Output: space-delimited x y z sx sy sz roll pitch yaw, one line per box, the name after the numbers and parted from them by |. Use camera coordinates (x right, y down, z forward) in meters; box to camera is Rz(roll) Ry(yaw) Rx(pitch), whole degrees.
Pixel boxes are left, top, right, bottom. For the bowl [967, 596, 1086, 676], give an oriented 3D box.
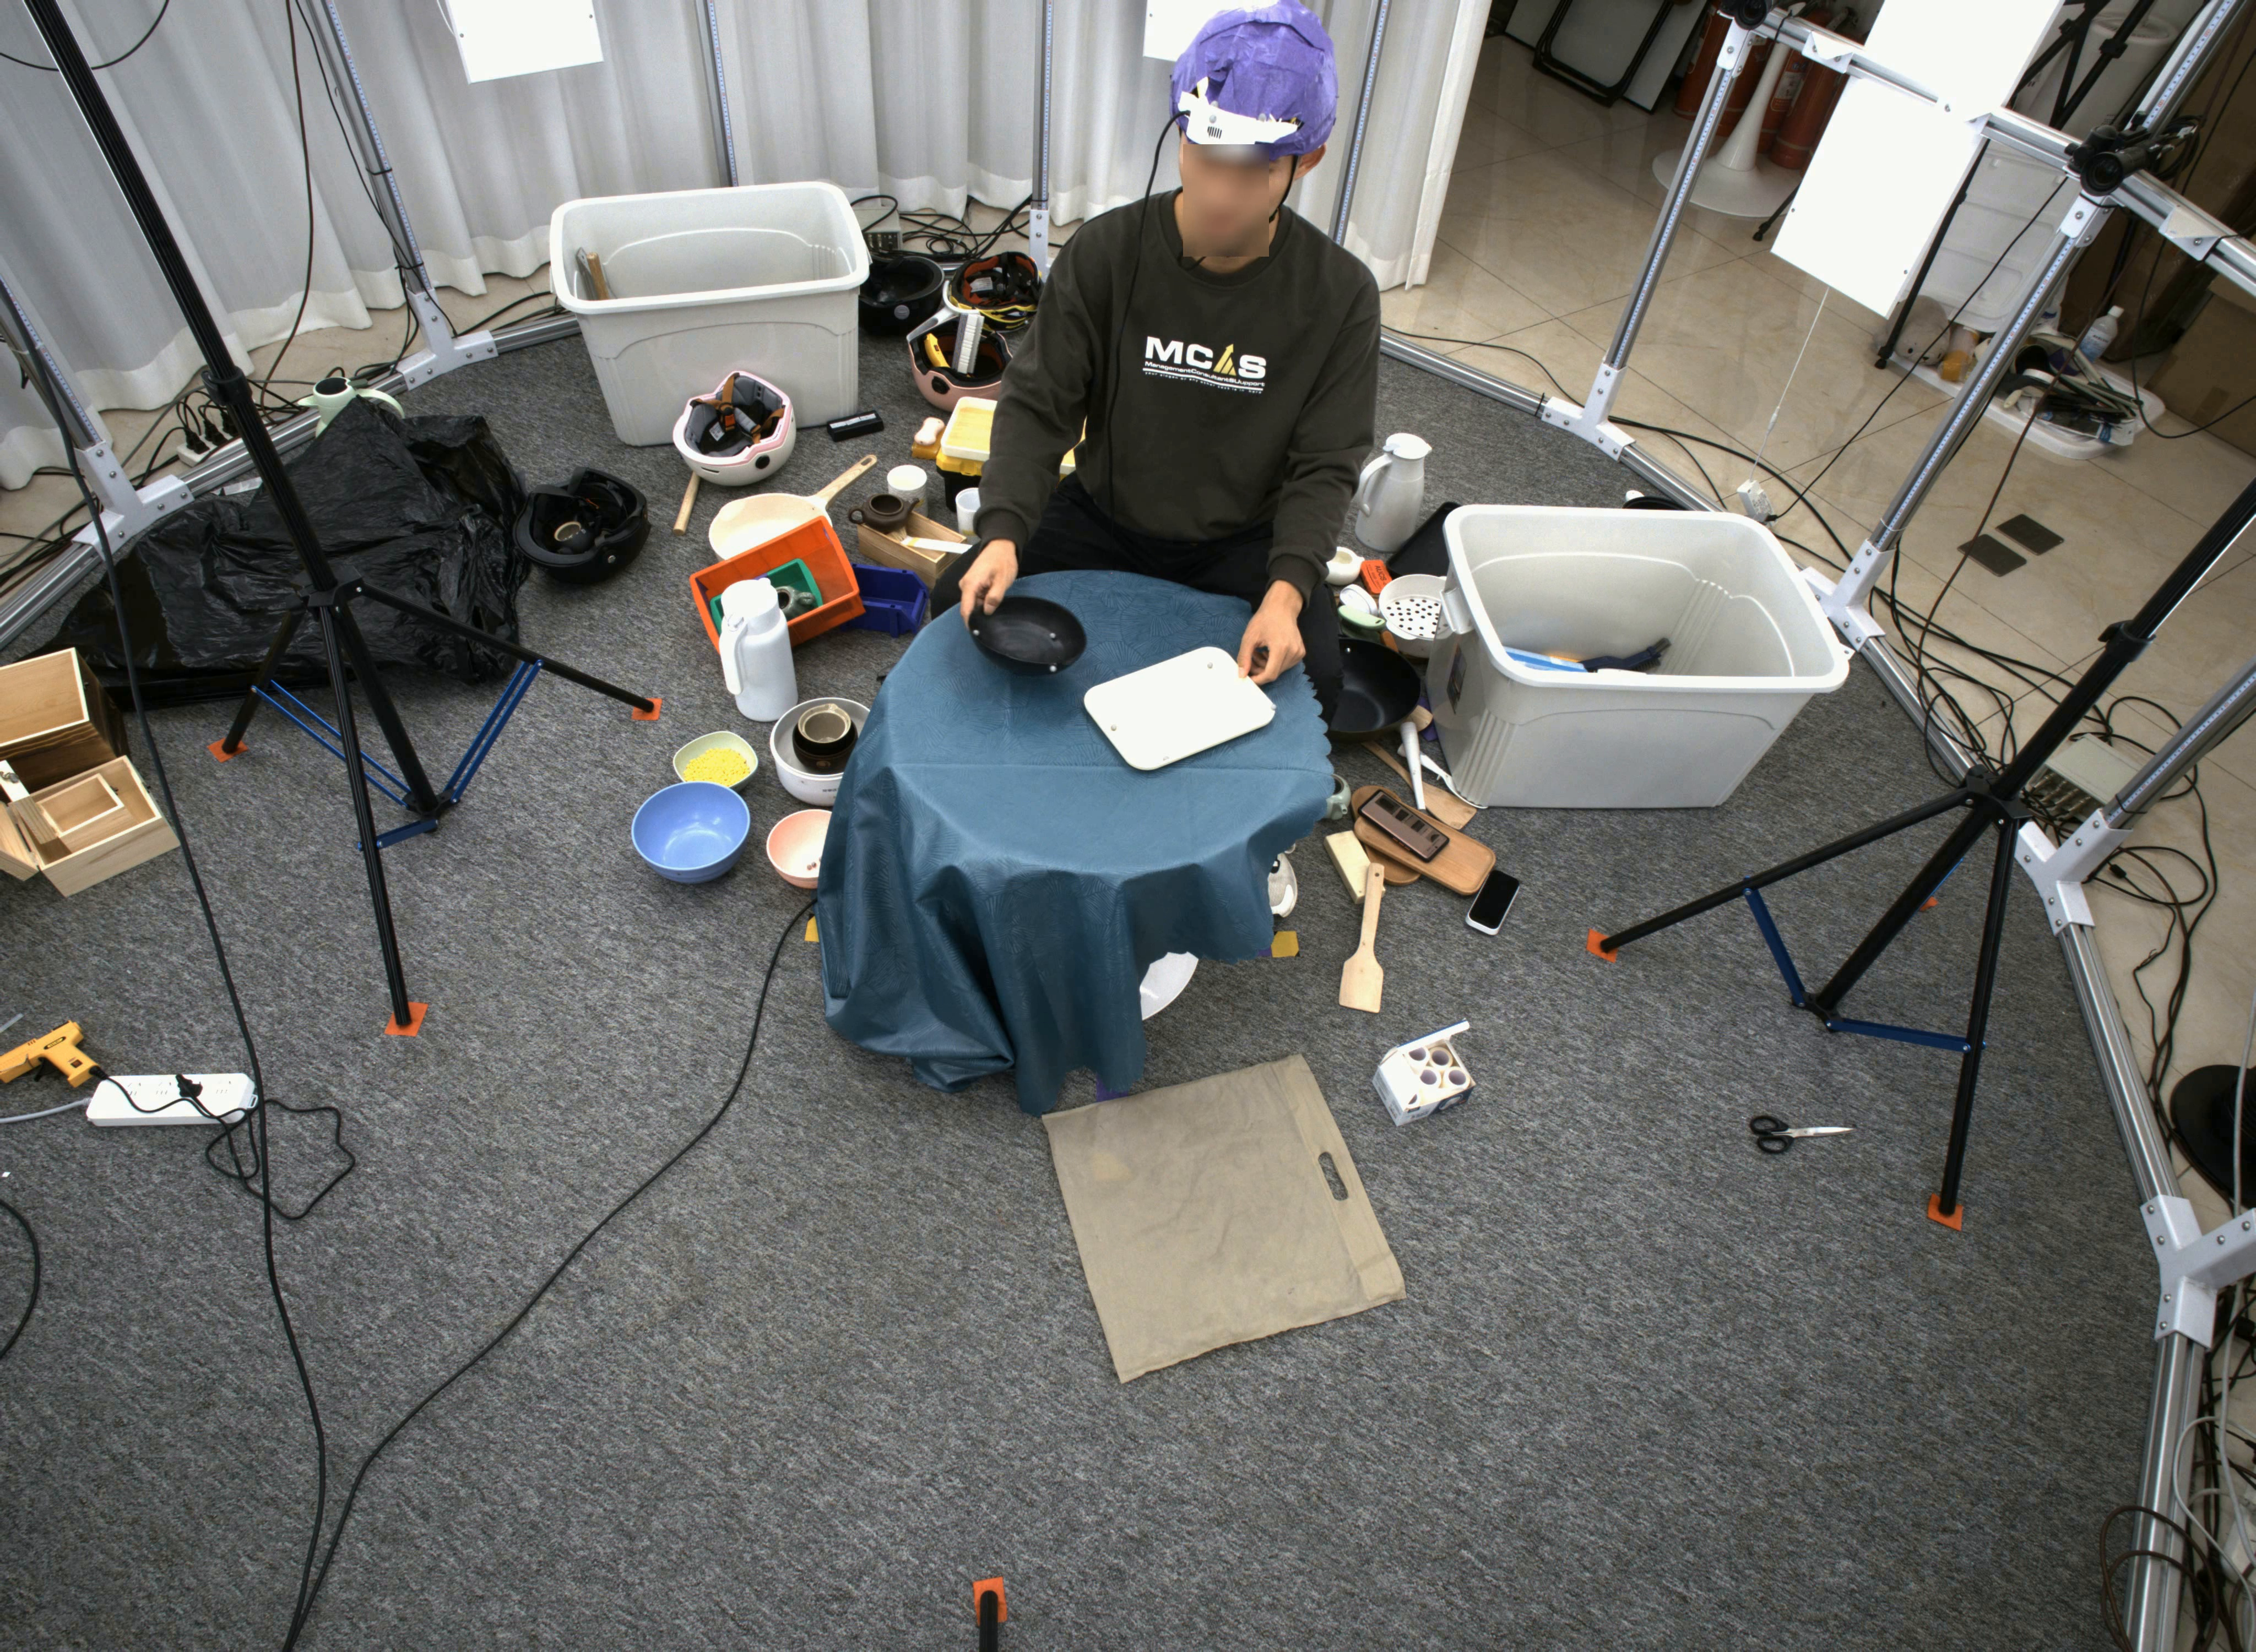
-0.145 -0.255 1.800 0.171 0.065 0.140 17 46 7 | bowl

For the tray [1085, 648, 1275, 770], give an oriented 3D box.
0.072 -0.166 1.803 0.240 0.017 0.175 -22 53 -22 | tray
